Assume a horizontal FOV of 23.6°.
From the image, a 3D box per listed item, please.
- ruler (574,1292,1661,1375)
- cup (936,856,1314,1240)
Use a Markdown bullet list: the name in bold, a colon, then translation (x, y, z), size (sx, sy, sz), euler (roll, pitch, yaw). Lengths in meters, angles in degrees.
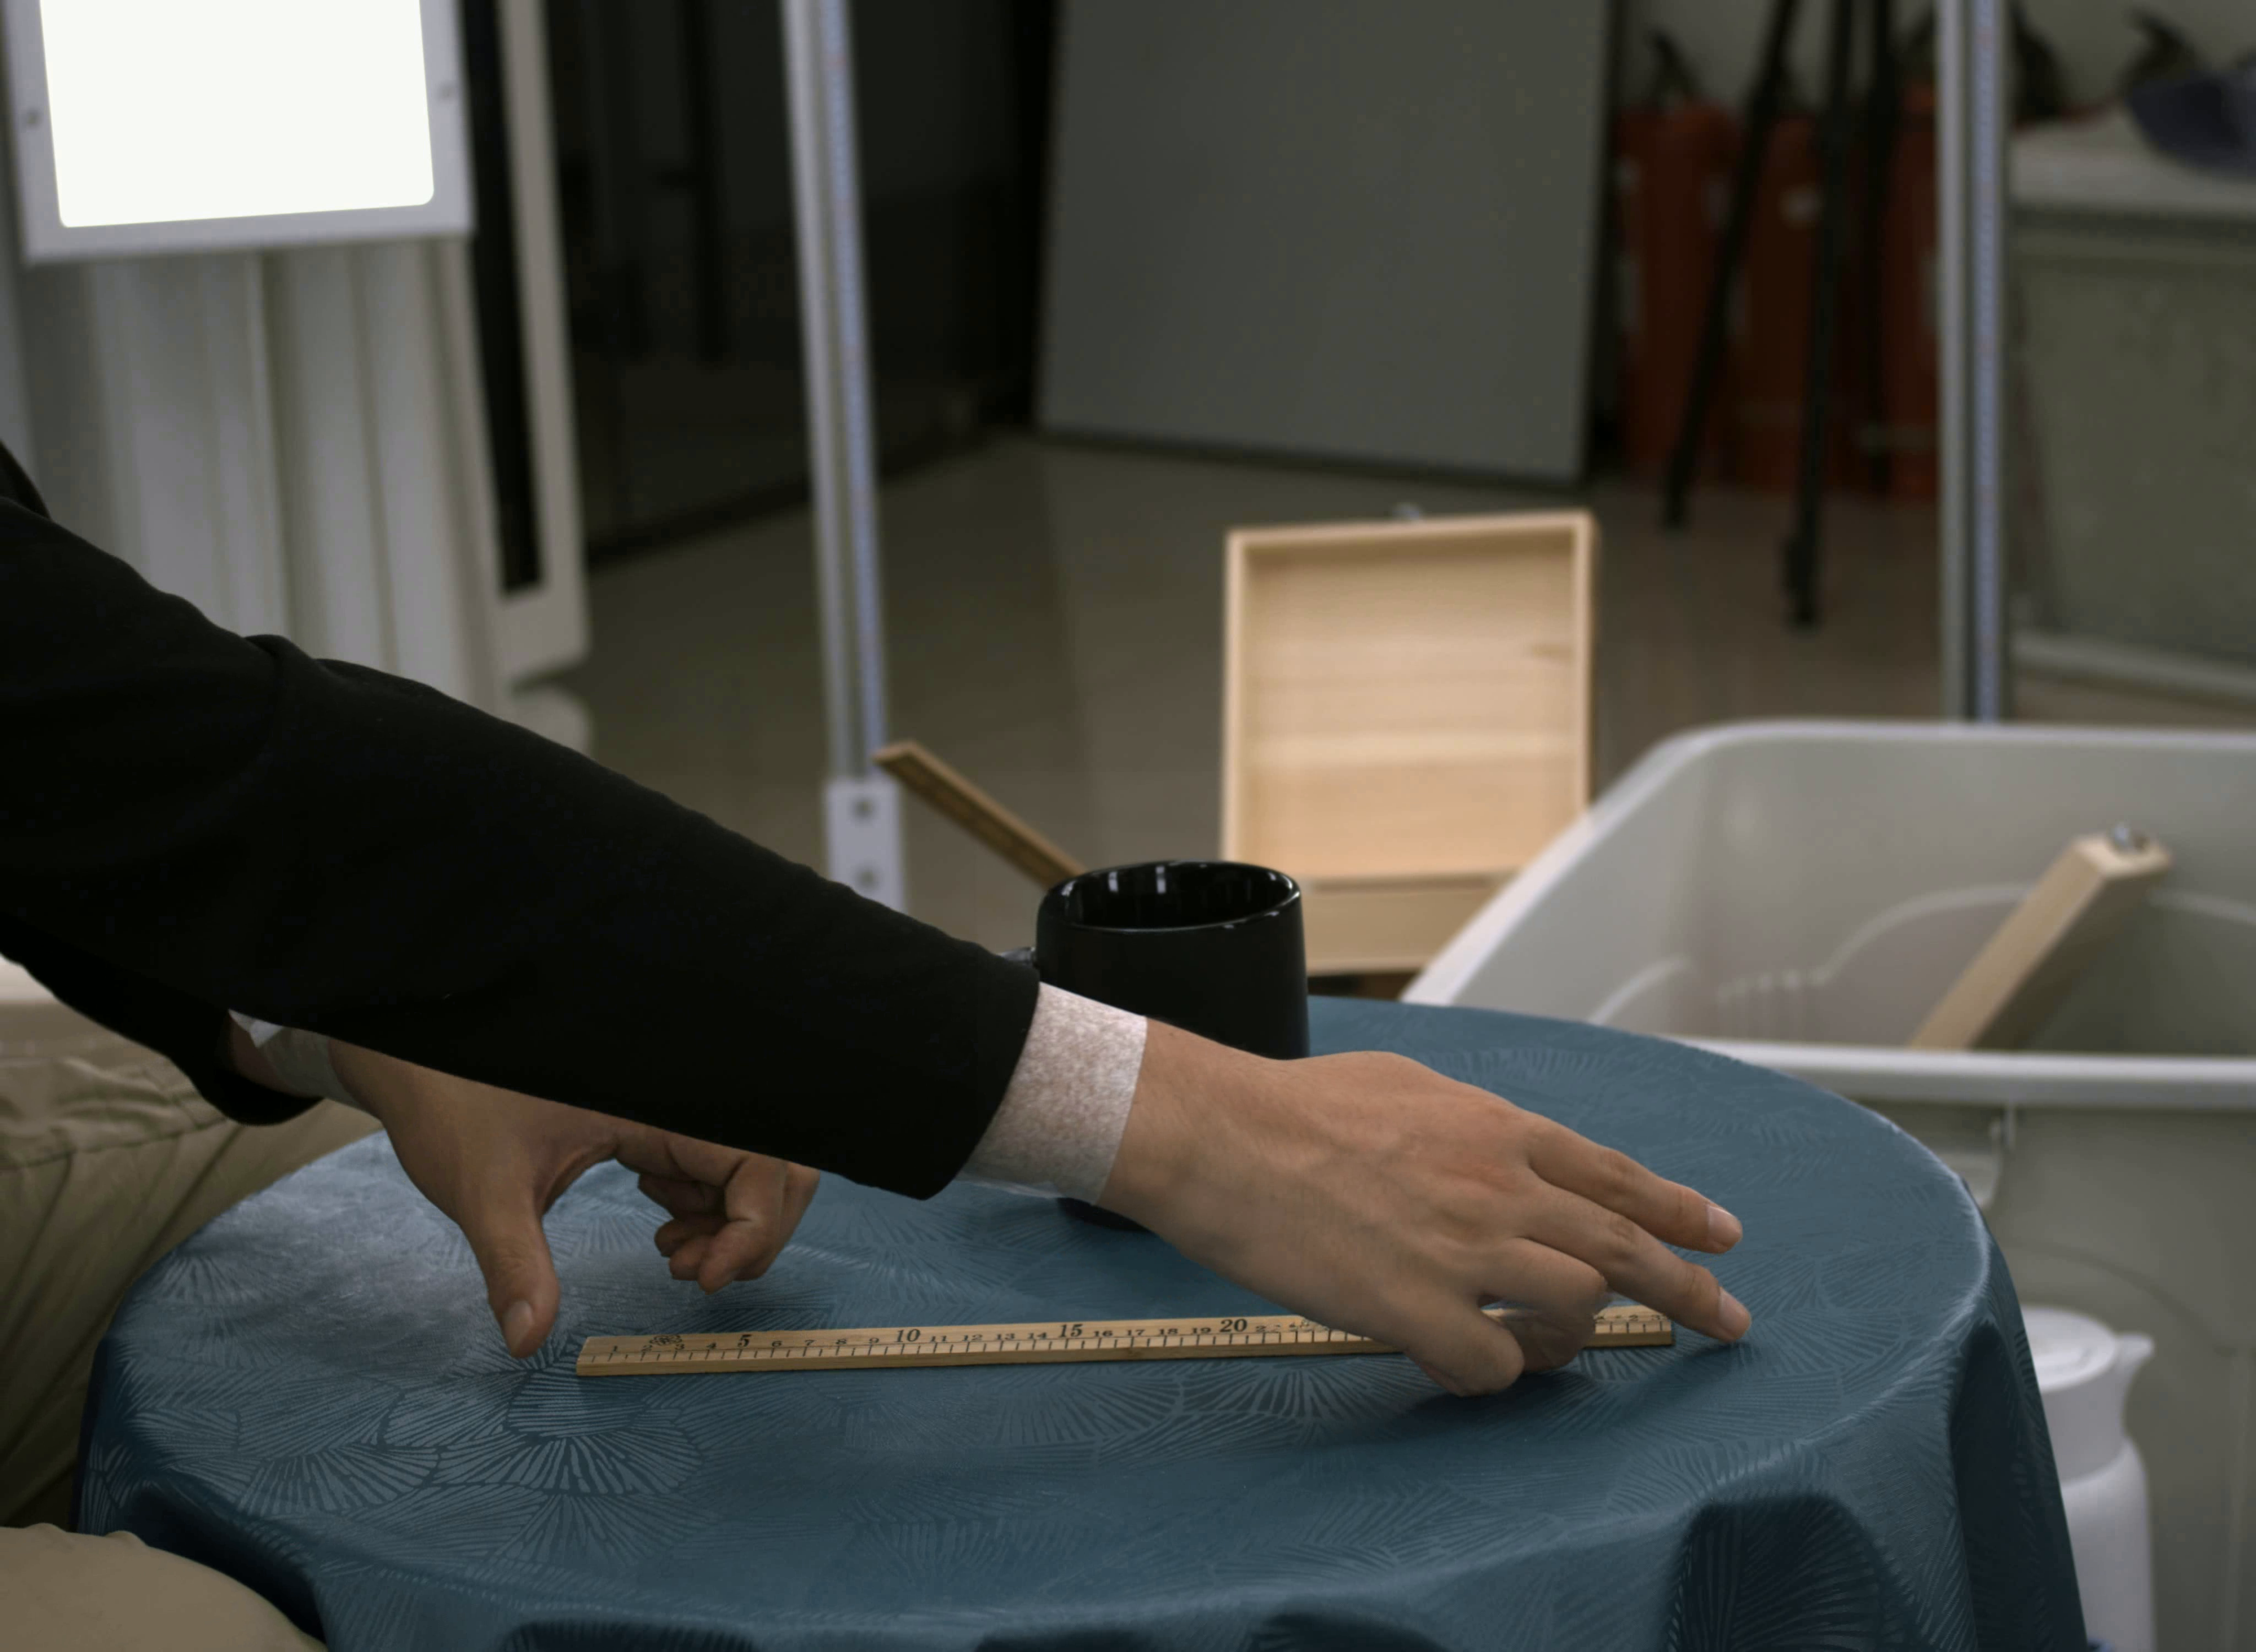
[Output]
- **ruler**: translation (-0.004, 0.153, 1.622), size (0.329, 0.022, 0.027), euler (-2, 10, 8)
- **cup**: translation (-0.002, 0.072, 1.756), size (0.122, 0.106, 0.088), euler (-3, 15, 9)
